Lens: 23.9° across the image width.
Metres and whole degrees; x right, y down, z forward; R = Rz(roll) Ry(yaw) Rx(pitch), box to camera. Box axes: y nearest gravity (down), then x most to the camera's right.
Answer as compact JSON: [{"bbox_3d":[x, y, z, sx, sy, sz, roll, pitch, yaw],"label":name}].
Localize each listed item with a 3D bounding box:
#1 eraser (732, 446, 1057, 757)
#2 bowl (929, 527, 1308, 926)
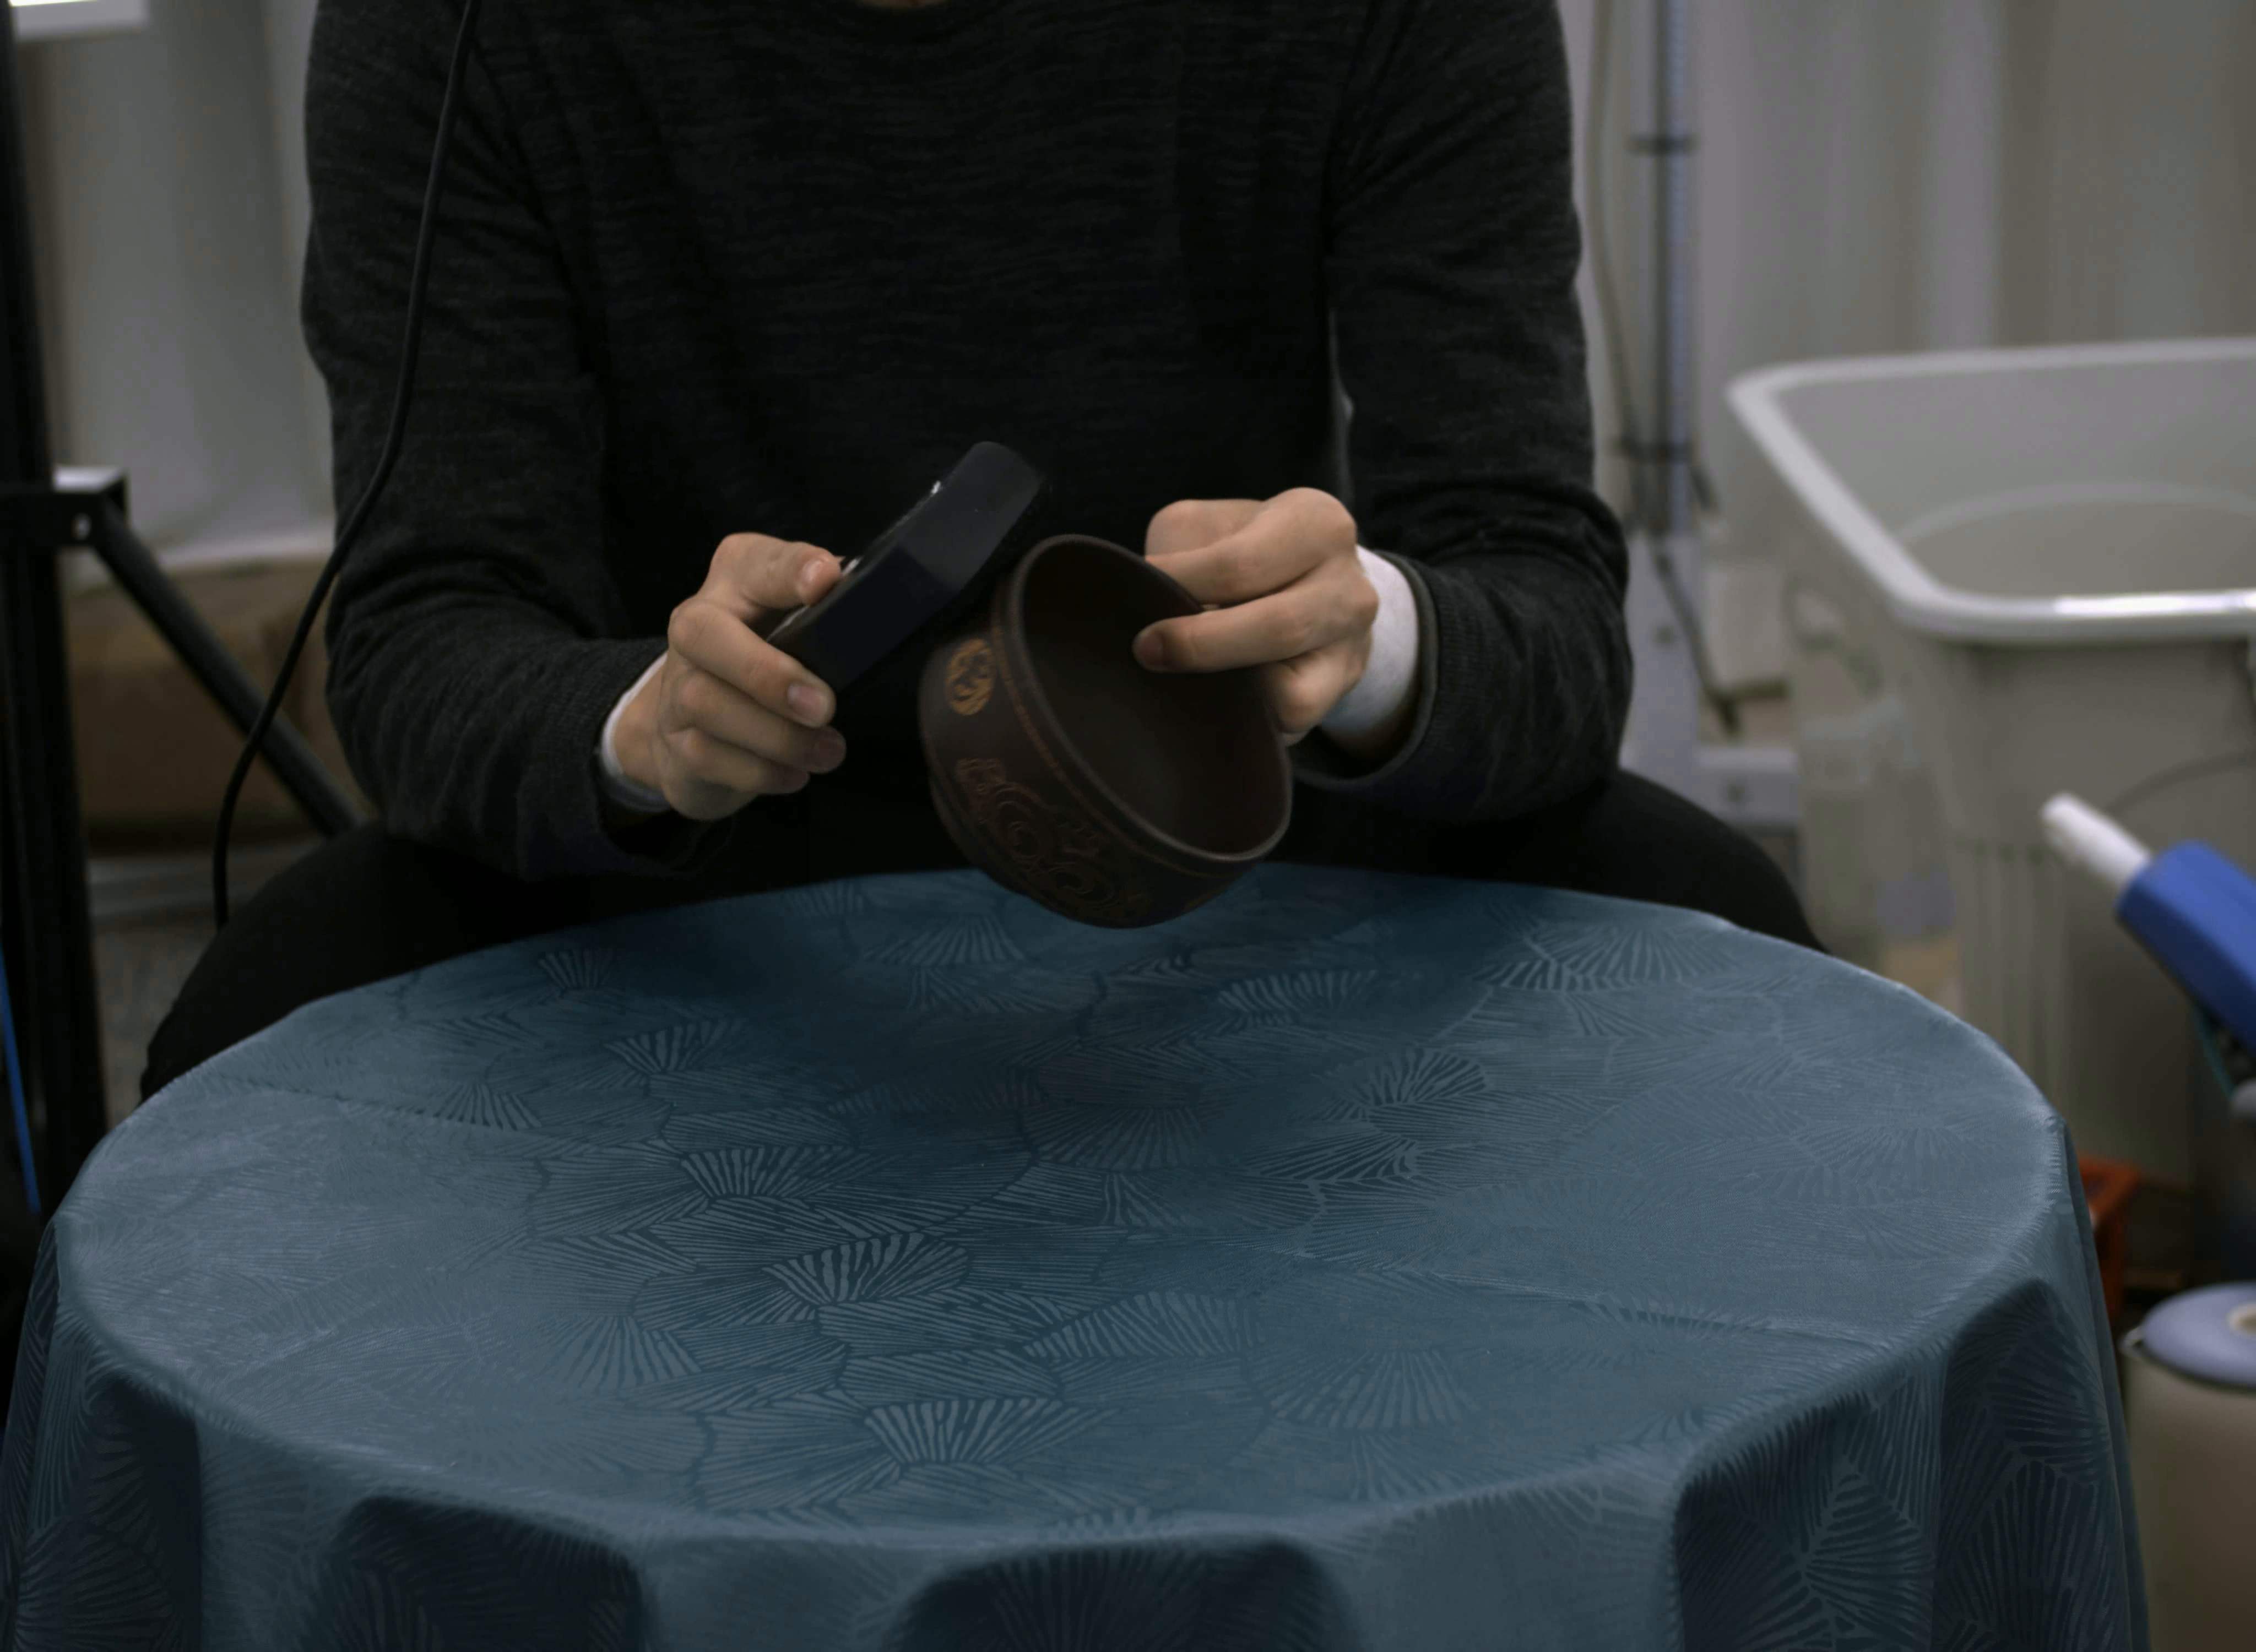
[{"bbox_3d":[-0.070,-0.067,1.589,0.053,0.030,0.127,-50,8,-36],"label":"eraser"},{"bbox_3d":[-0.011,-0.021,1.567,0.070,0.119,0.116,-41,-7,31],"label":"bowl"}]
